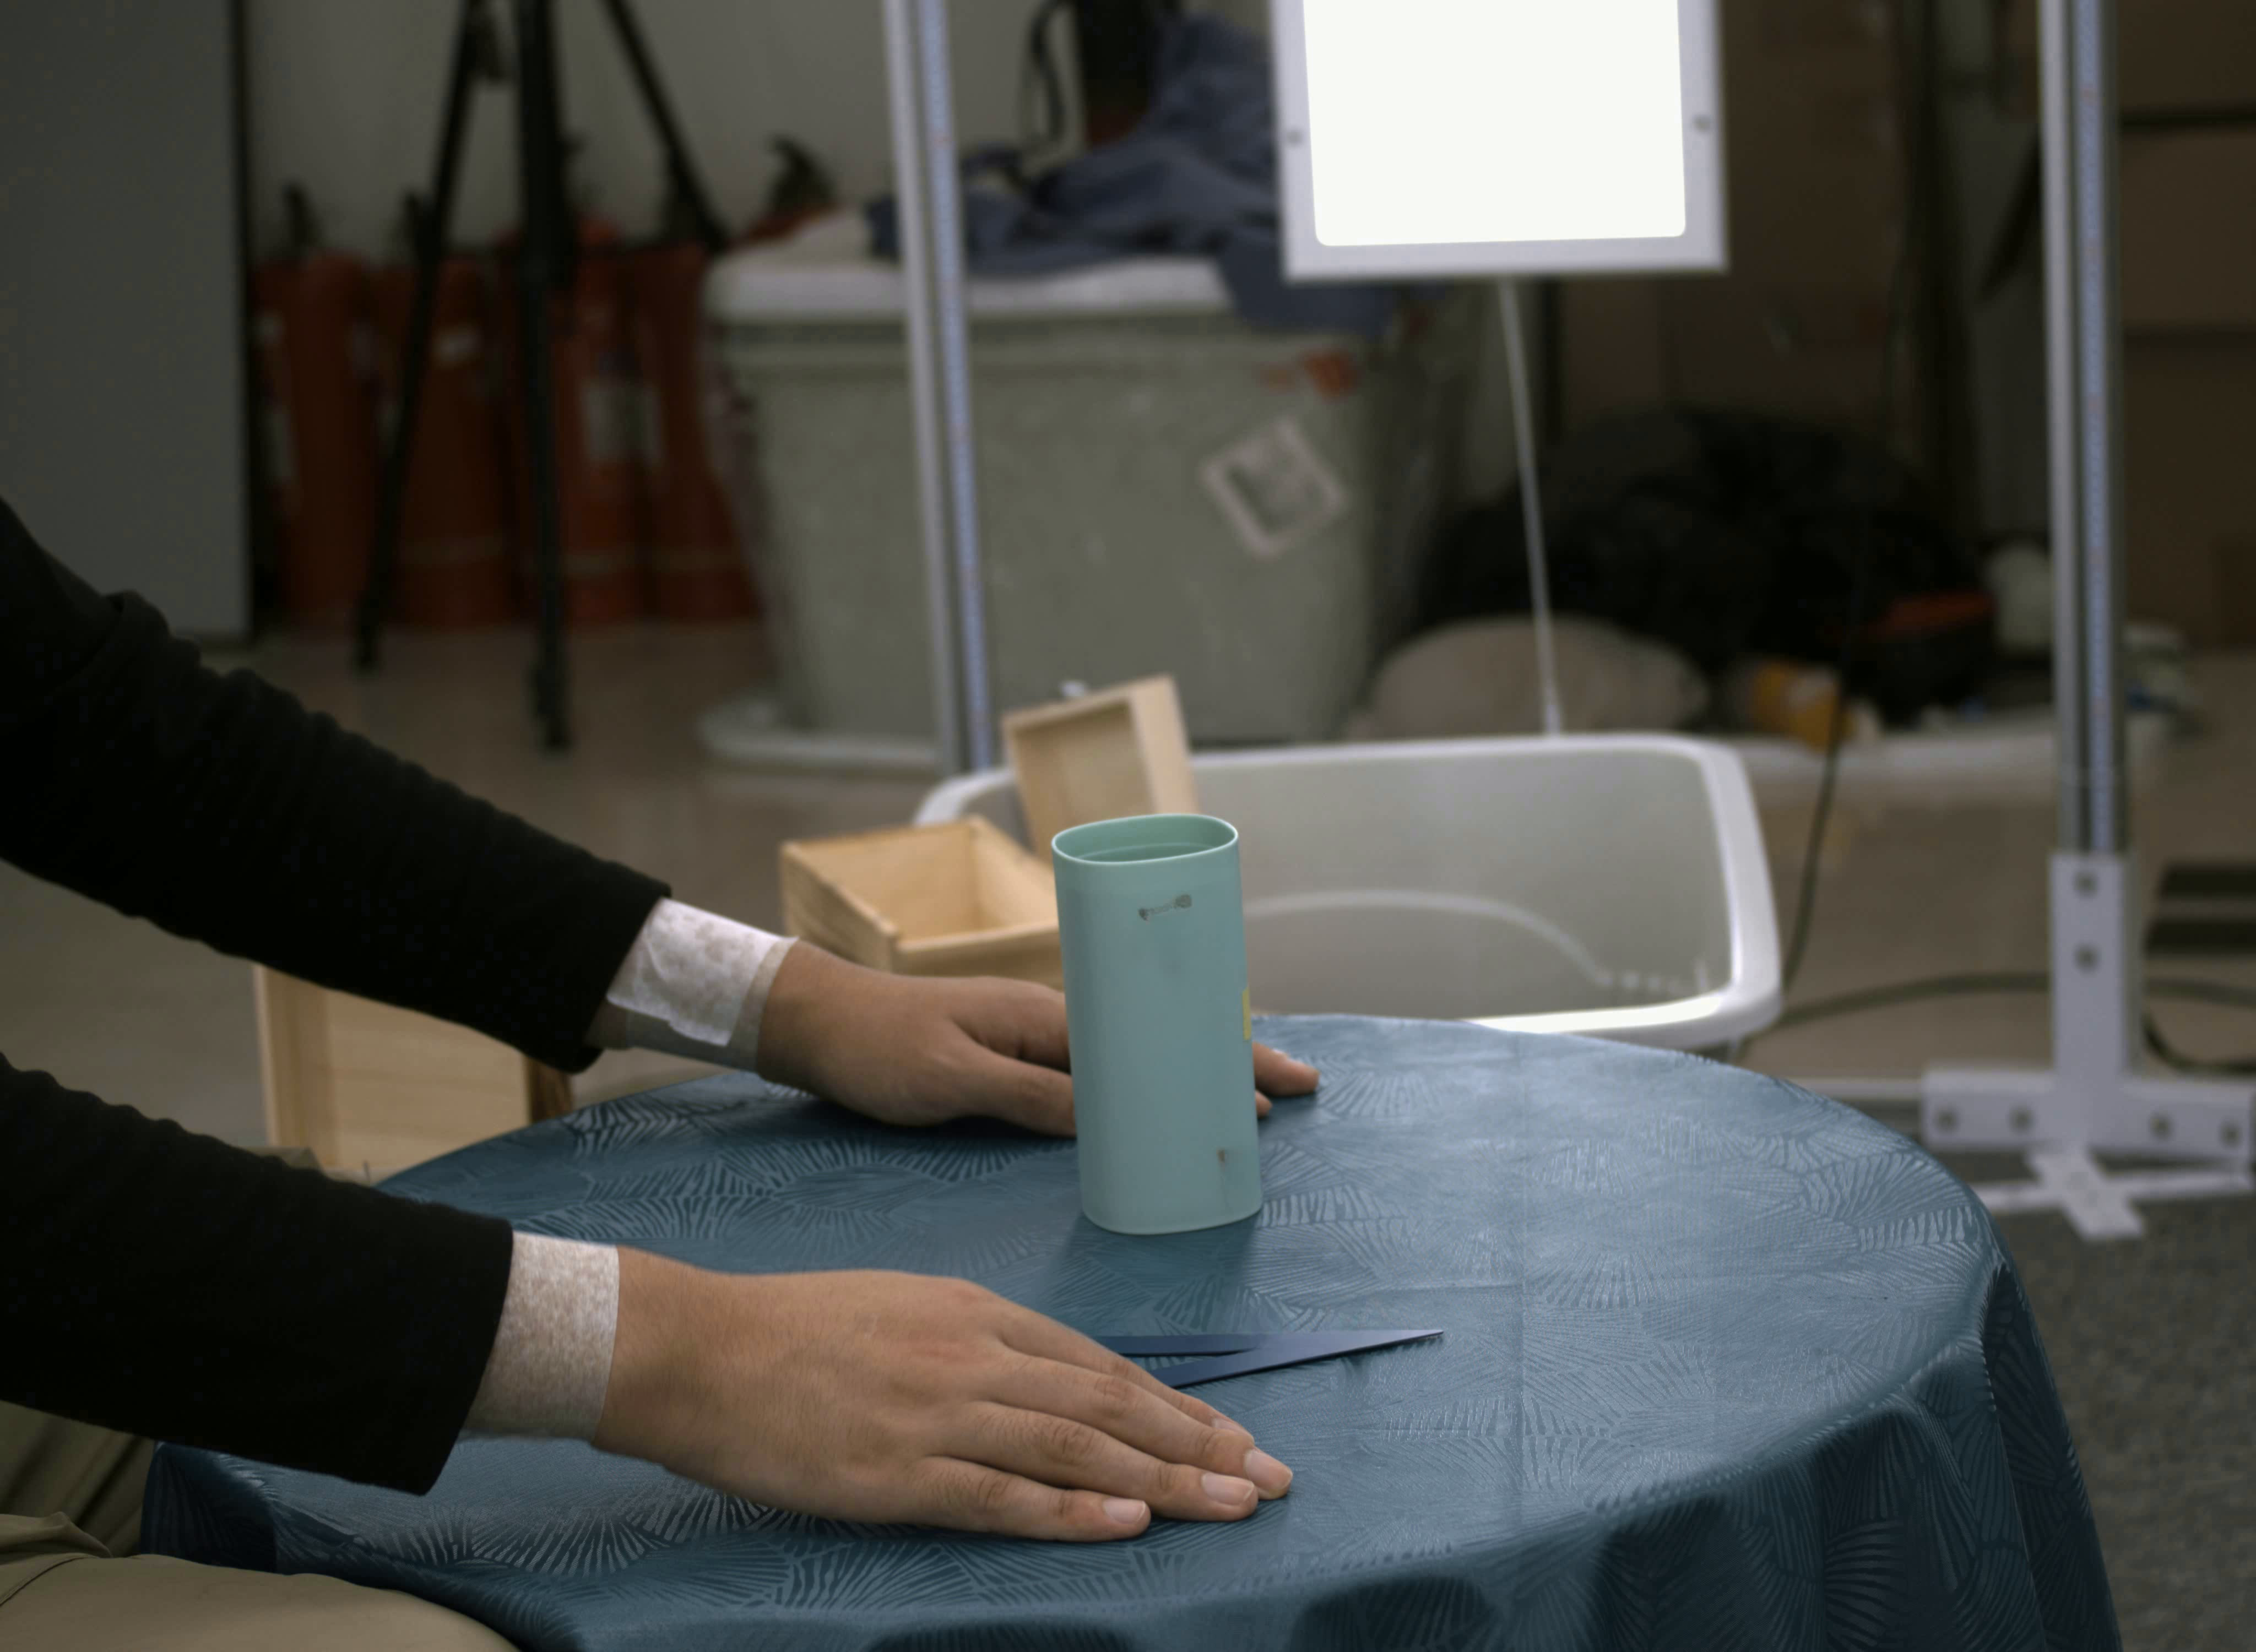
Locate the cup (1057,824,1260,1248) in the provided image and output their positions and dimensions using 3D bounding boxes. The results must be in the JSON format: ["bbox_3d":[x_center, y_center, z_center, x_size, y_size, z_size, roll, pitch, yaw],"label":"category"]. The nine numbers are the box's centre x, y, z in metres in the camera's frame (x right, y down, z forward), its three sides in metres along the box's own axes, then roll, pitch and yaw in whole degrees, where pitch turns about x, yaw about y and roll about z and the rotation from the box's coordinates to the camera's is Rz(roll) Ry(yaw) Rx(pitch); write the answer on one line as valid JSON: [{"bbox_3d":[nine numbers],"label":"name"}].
[{"bbox_3d":[0.010,0.070,1.864,0.066,0.133,0.066,-4,14,0],"label":"cup"}]

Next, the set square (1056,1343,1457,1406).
[{"bbox_3d":[0.035,0.169,1.704,0.133,0.006,0.060,-1,13,17],"label":"set square"}]
